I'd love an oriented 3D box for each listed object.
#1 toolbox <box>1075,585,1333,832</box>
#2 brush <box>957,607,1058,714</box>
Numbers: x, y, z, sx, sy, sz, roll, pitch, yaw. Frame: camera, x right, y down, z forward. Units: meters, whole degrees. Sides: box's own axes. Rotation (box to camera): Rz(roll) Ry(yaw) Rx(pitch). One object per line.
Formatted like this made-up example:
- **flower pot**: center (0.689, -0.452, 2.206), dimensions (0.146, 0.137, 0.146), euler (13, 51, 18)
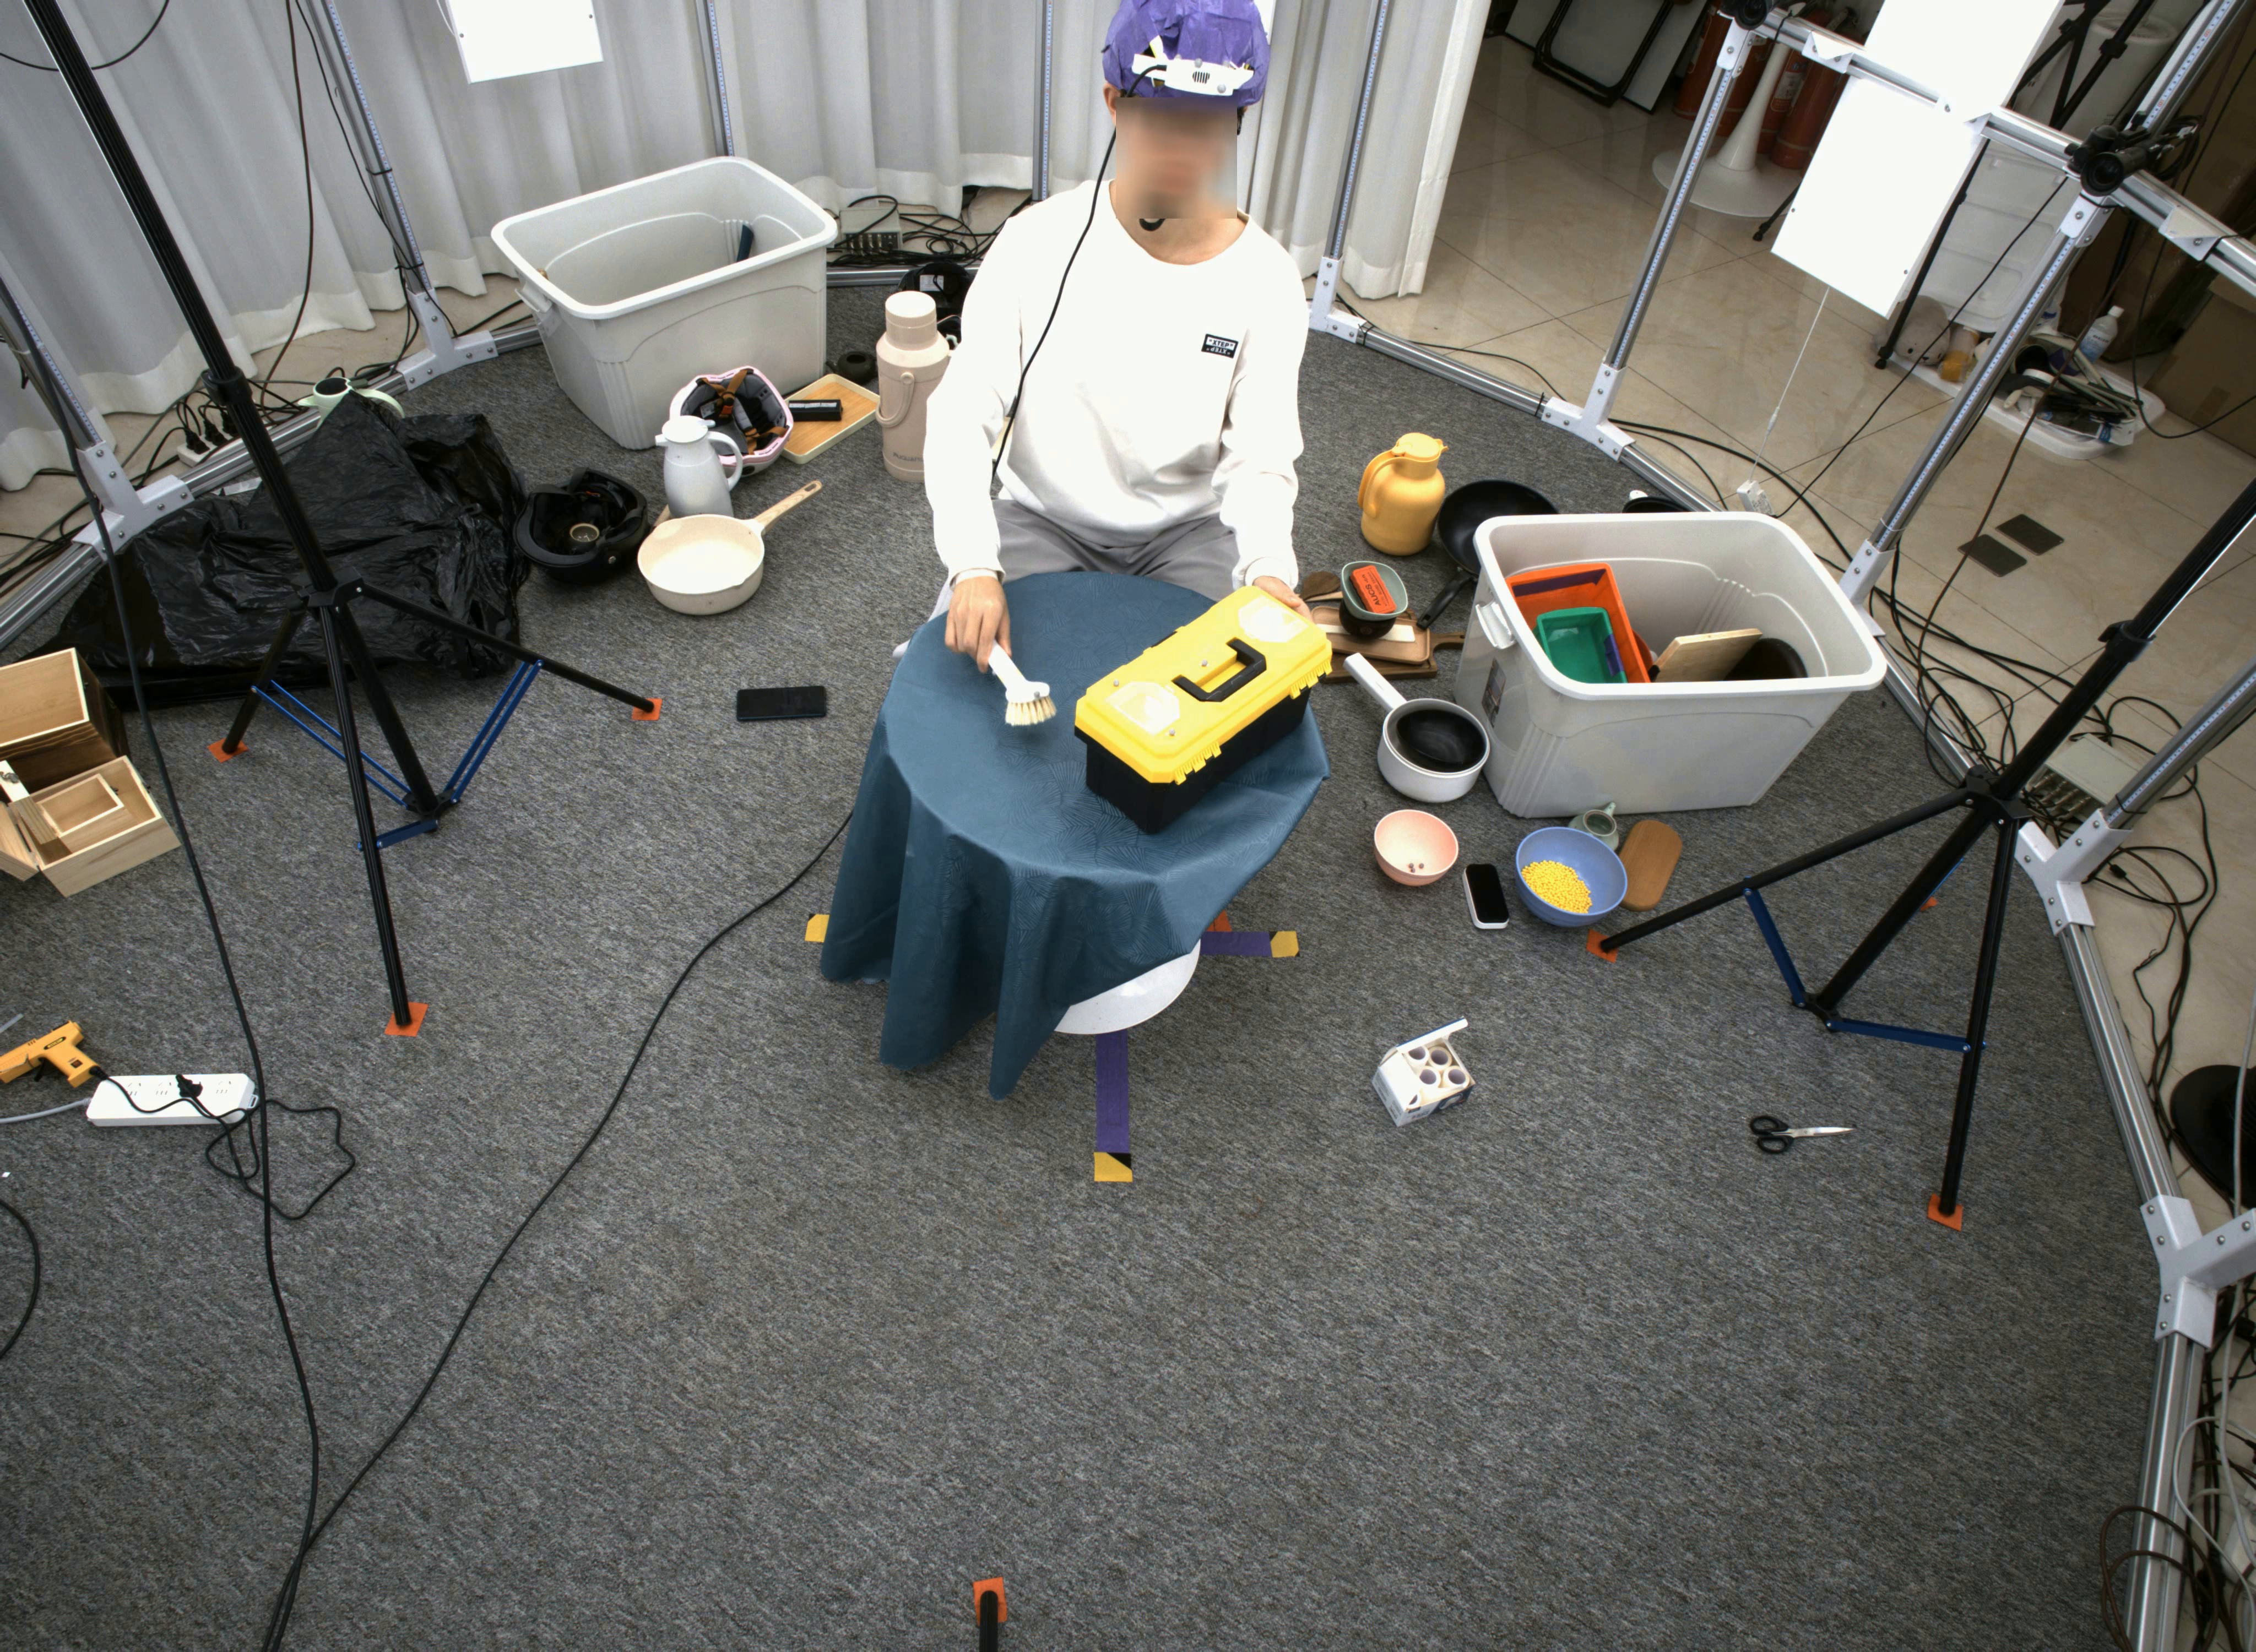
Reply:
- **toolbox**: center (0.098, -0.157, 1.696), dimensions (0.184, 0.169, 0.355), euler (39, 56, 24)
- **brush**: center (-0.175, -0.227, 1.789), dimensions (0.068, 0.055, 0.272), euler (-10, 36, -29)
